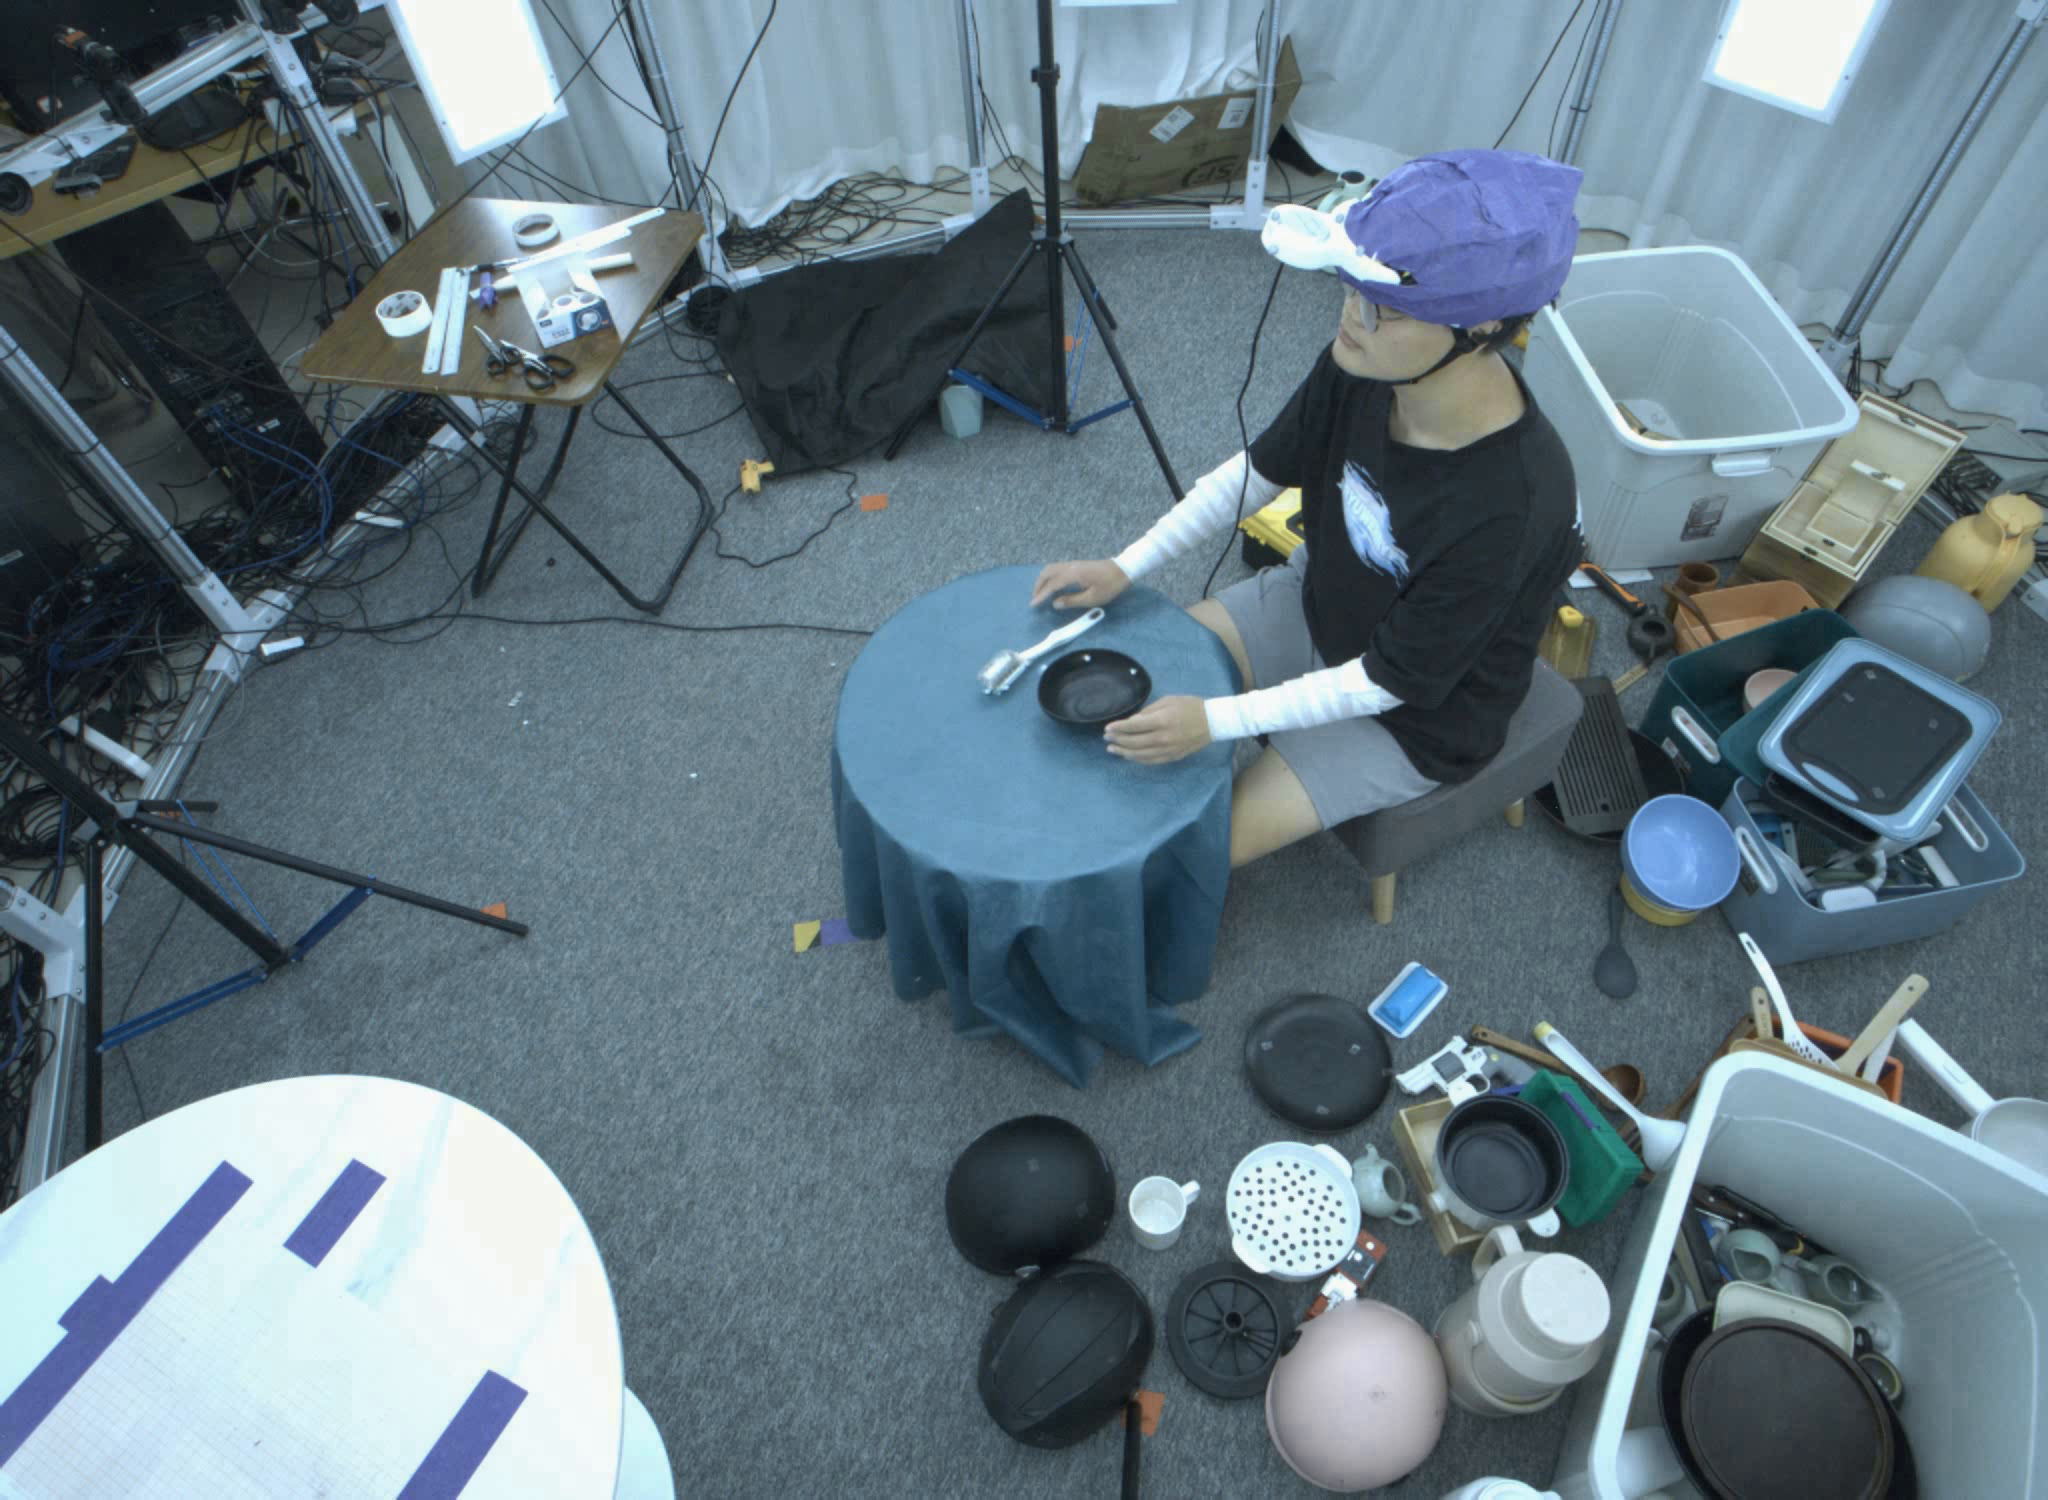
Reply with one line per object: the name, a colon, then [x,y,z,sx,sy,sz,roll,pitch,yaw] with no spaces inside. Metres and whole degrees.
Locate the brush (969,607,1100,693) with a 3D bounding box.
brush: [0.019,-0.166,1.866,0.245,0.051,0.034,-35,58,-20]

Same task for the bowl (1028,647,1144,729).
bowl: [0.089,-0.081,1.794,0.171,0.067,0.135,-14,55,-10]
